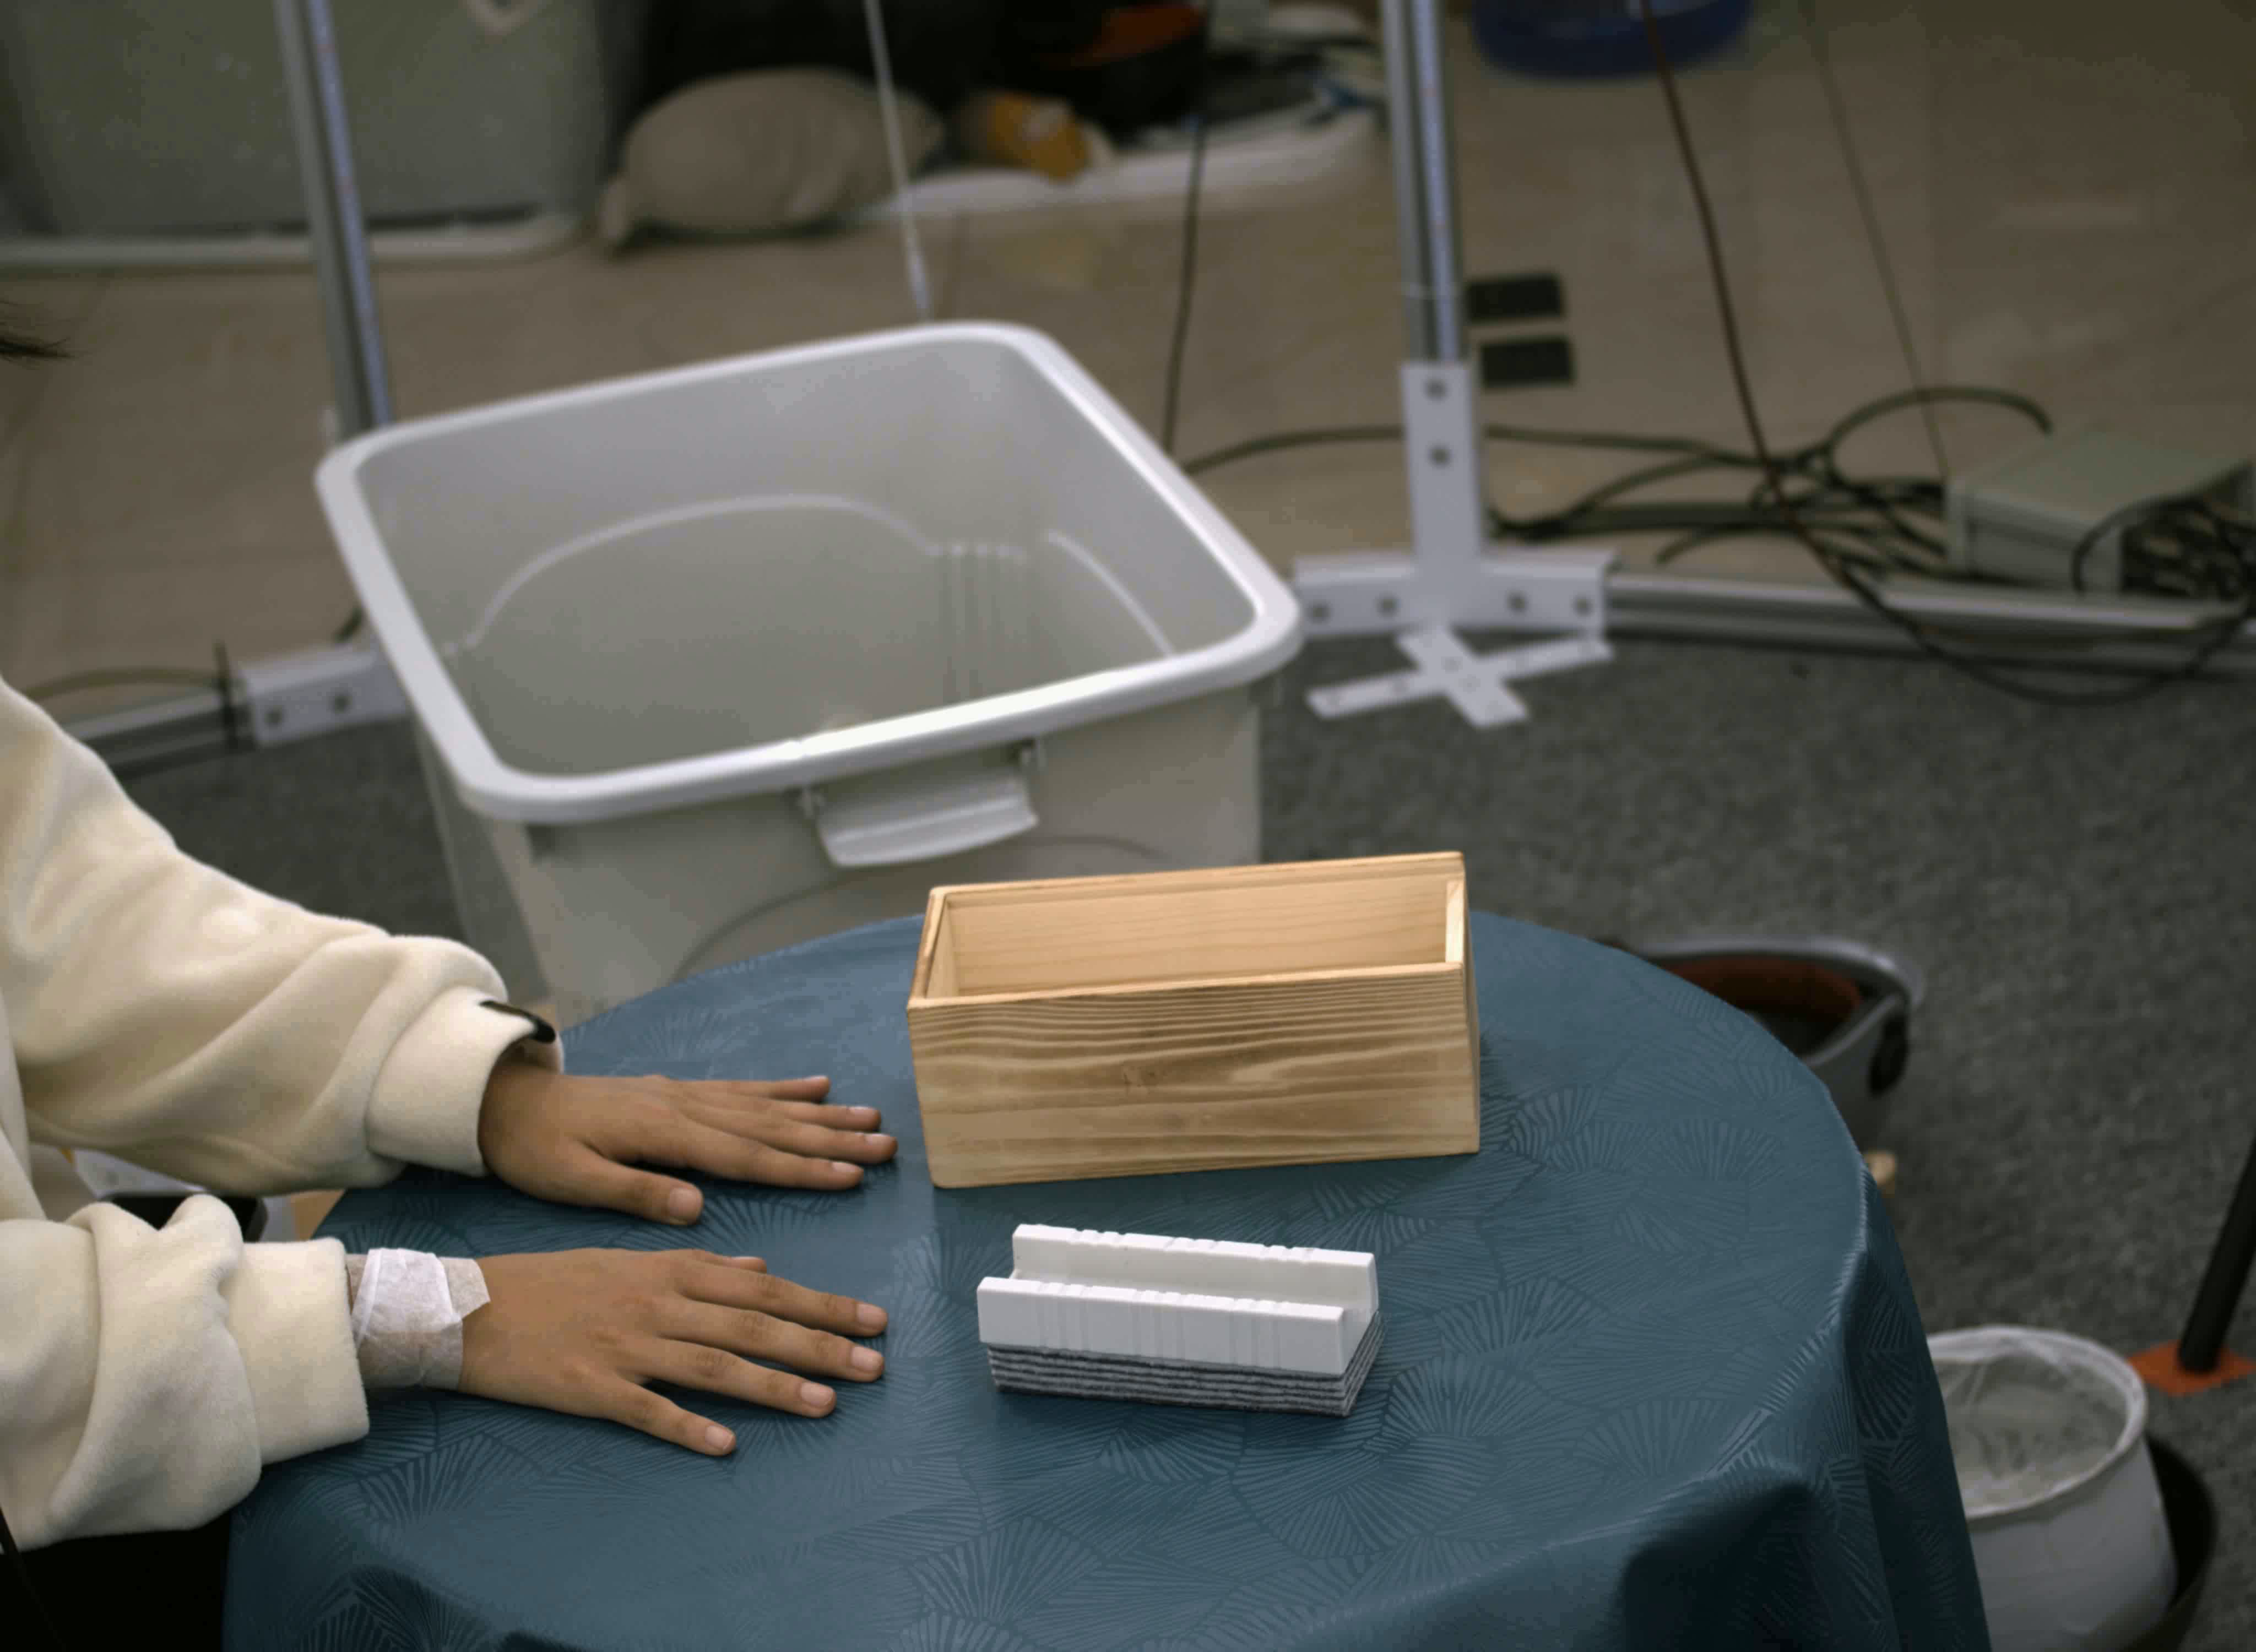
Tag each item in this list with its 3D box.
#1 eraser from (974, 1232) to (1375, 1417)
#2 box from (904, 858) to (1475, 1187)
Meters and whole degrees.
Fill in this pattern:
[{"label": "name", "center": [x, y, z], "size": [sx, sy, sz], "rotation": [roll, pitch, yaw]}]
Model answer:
[{"label": "eraser", "center": [0.017, 0.176, 2.009], "size": [0.134, 0.047, 0.049], "rotation": [3, 29, 16]}, {"label": "box", "center": [0.026, 0.075, 2.185], "size": [0.211, 0.081, 0.106], "rotation": [-4, 25, 5]}]
